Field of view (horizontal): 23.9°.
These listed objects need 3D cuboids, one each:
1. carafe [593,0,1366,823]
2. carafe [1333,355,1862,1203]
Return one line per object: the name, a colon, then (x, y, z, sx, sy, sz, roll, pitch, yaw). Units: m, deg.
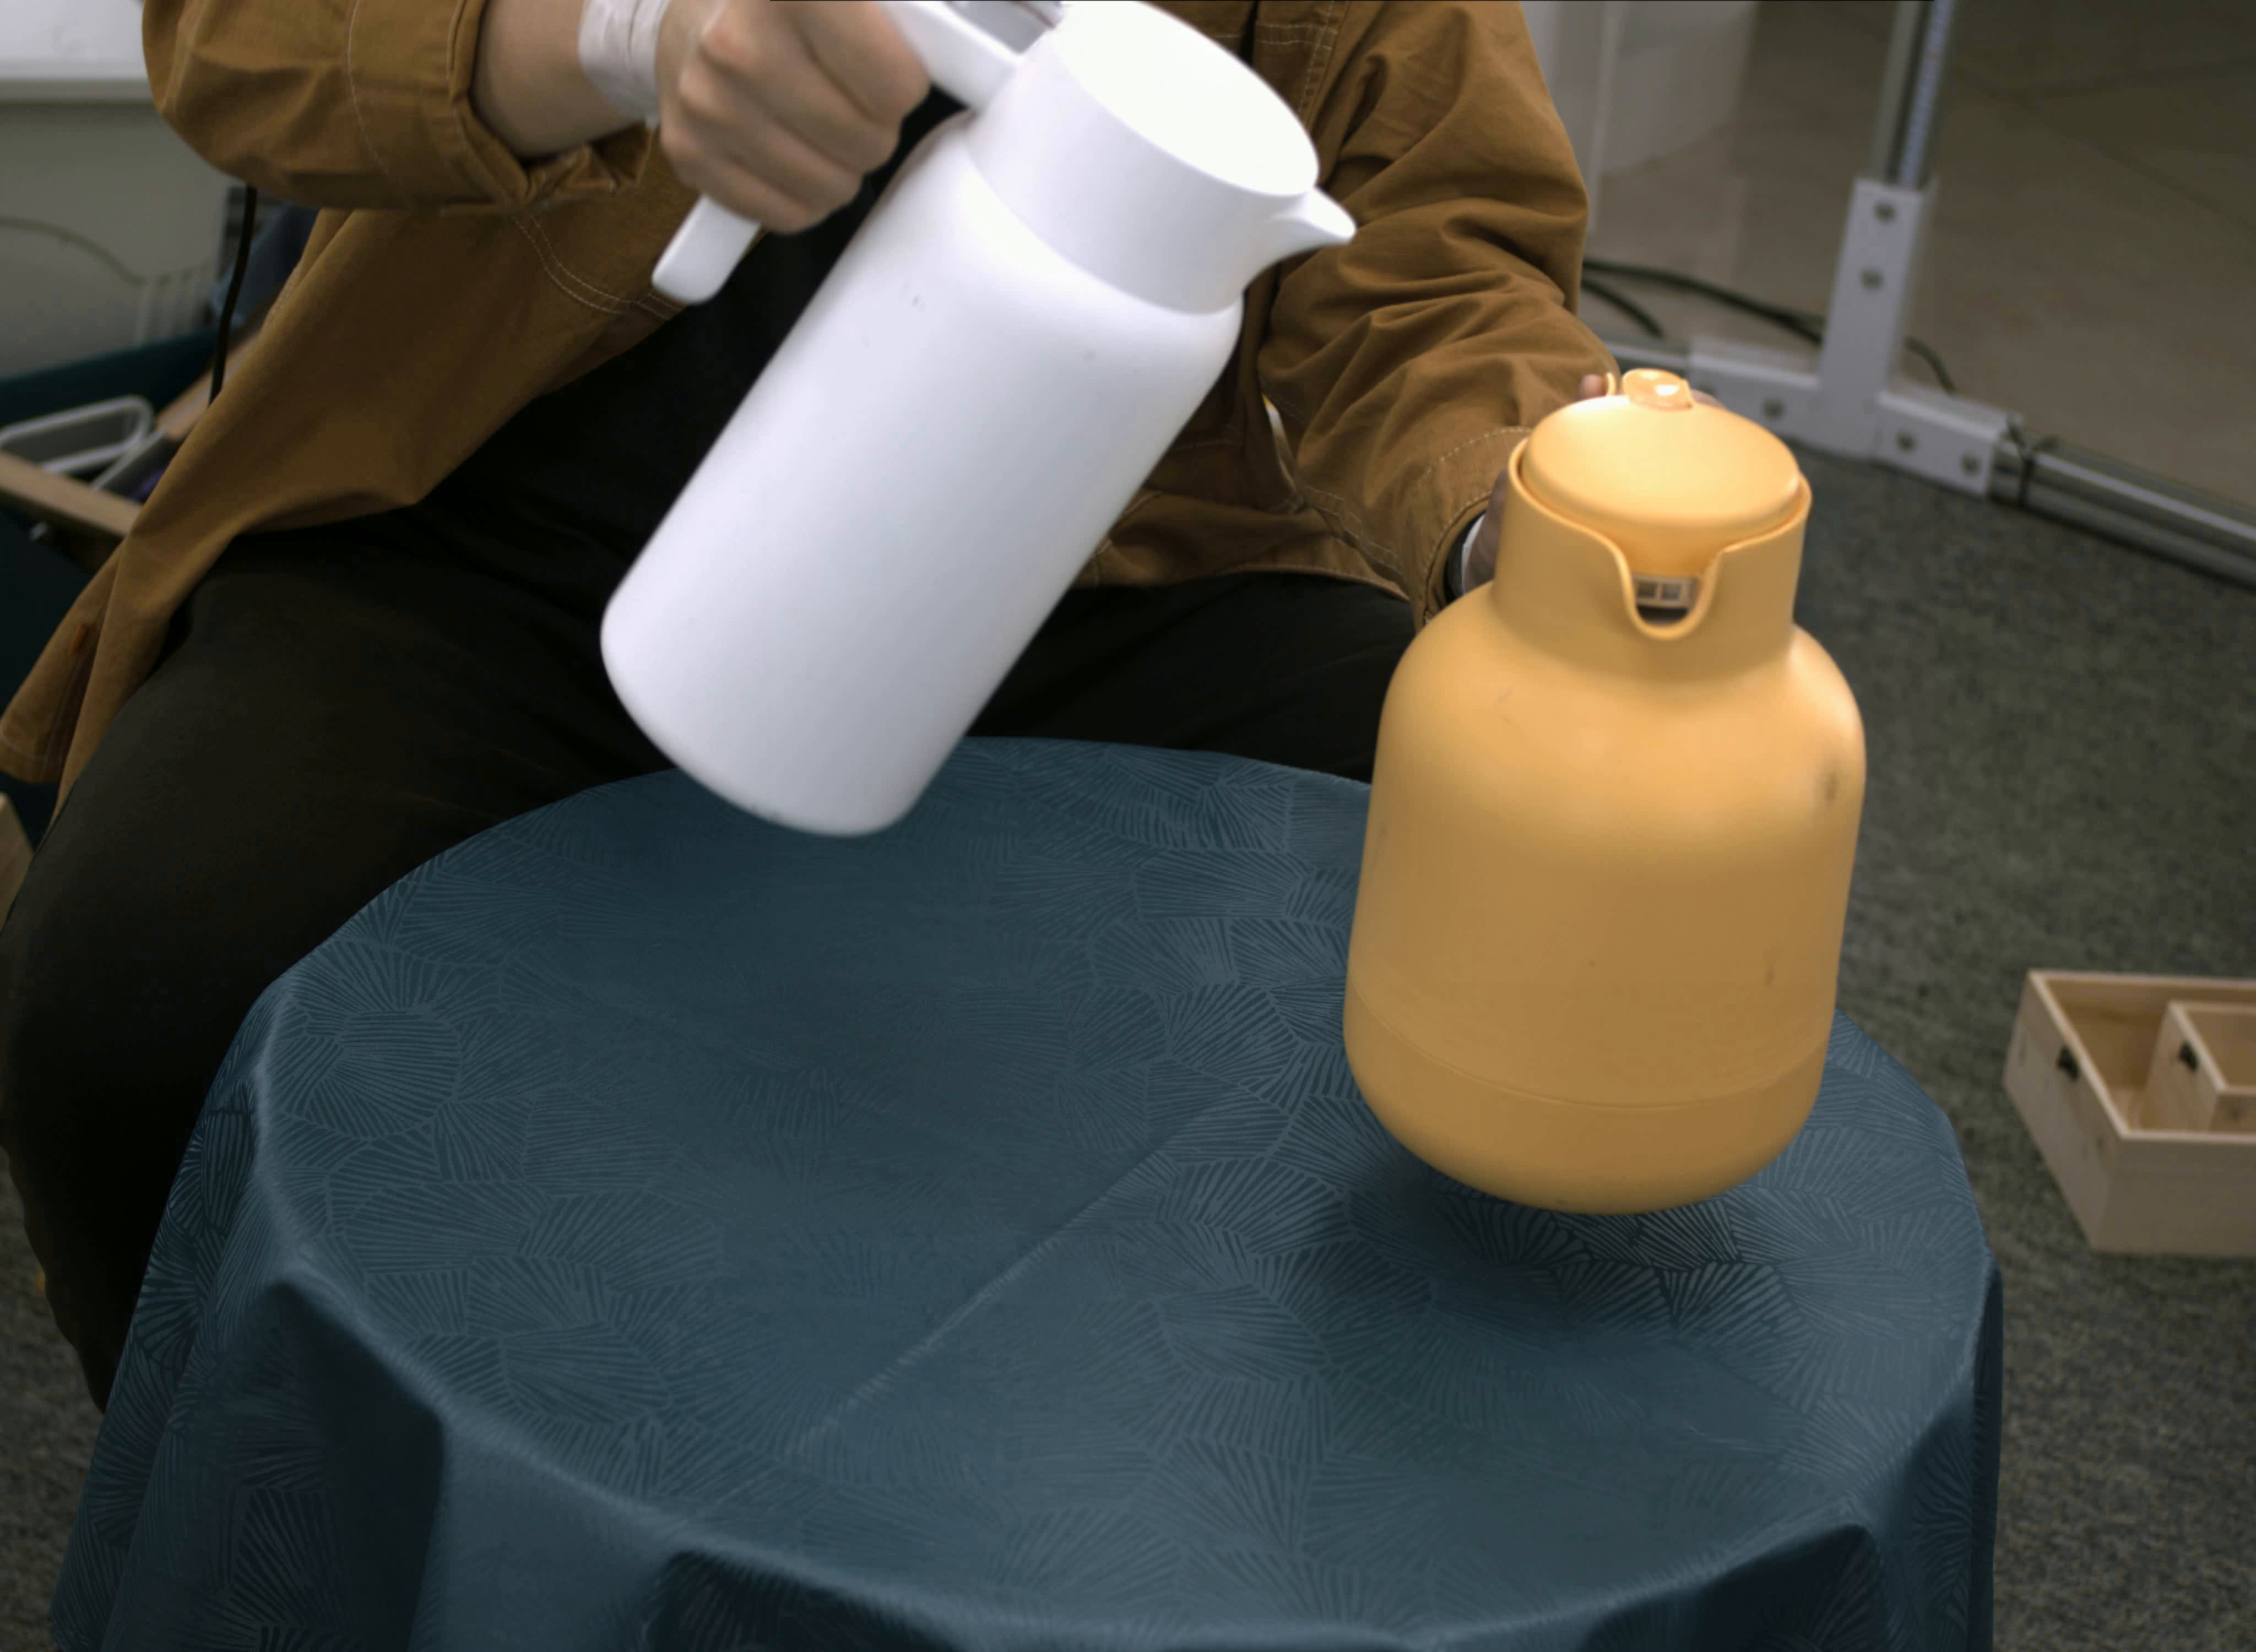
carafe: (-0.068, -0.140, 1.654, 0.172, 0.268, 0.124, 32, 29, -10)
carafe: (0.162, -0.025, 1.764, 0.163, 0.259, 0.203, 8, 31, 2)
